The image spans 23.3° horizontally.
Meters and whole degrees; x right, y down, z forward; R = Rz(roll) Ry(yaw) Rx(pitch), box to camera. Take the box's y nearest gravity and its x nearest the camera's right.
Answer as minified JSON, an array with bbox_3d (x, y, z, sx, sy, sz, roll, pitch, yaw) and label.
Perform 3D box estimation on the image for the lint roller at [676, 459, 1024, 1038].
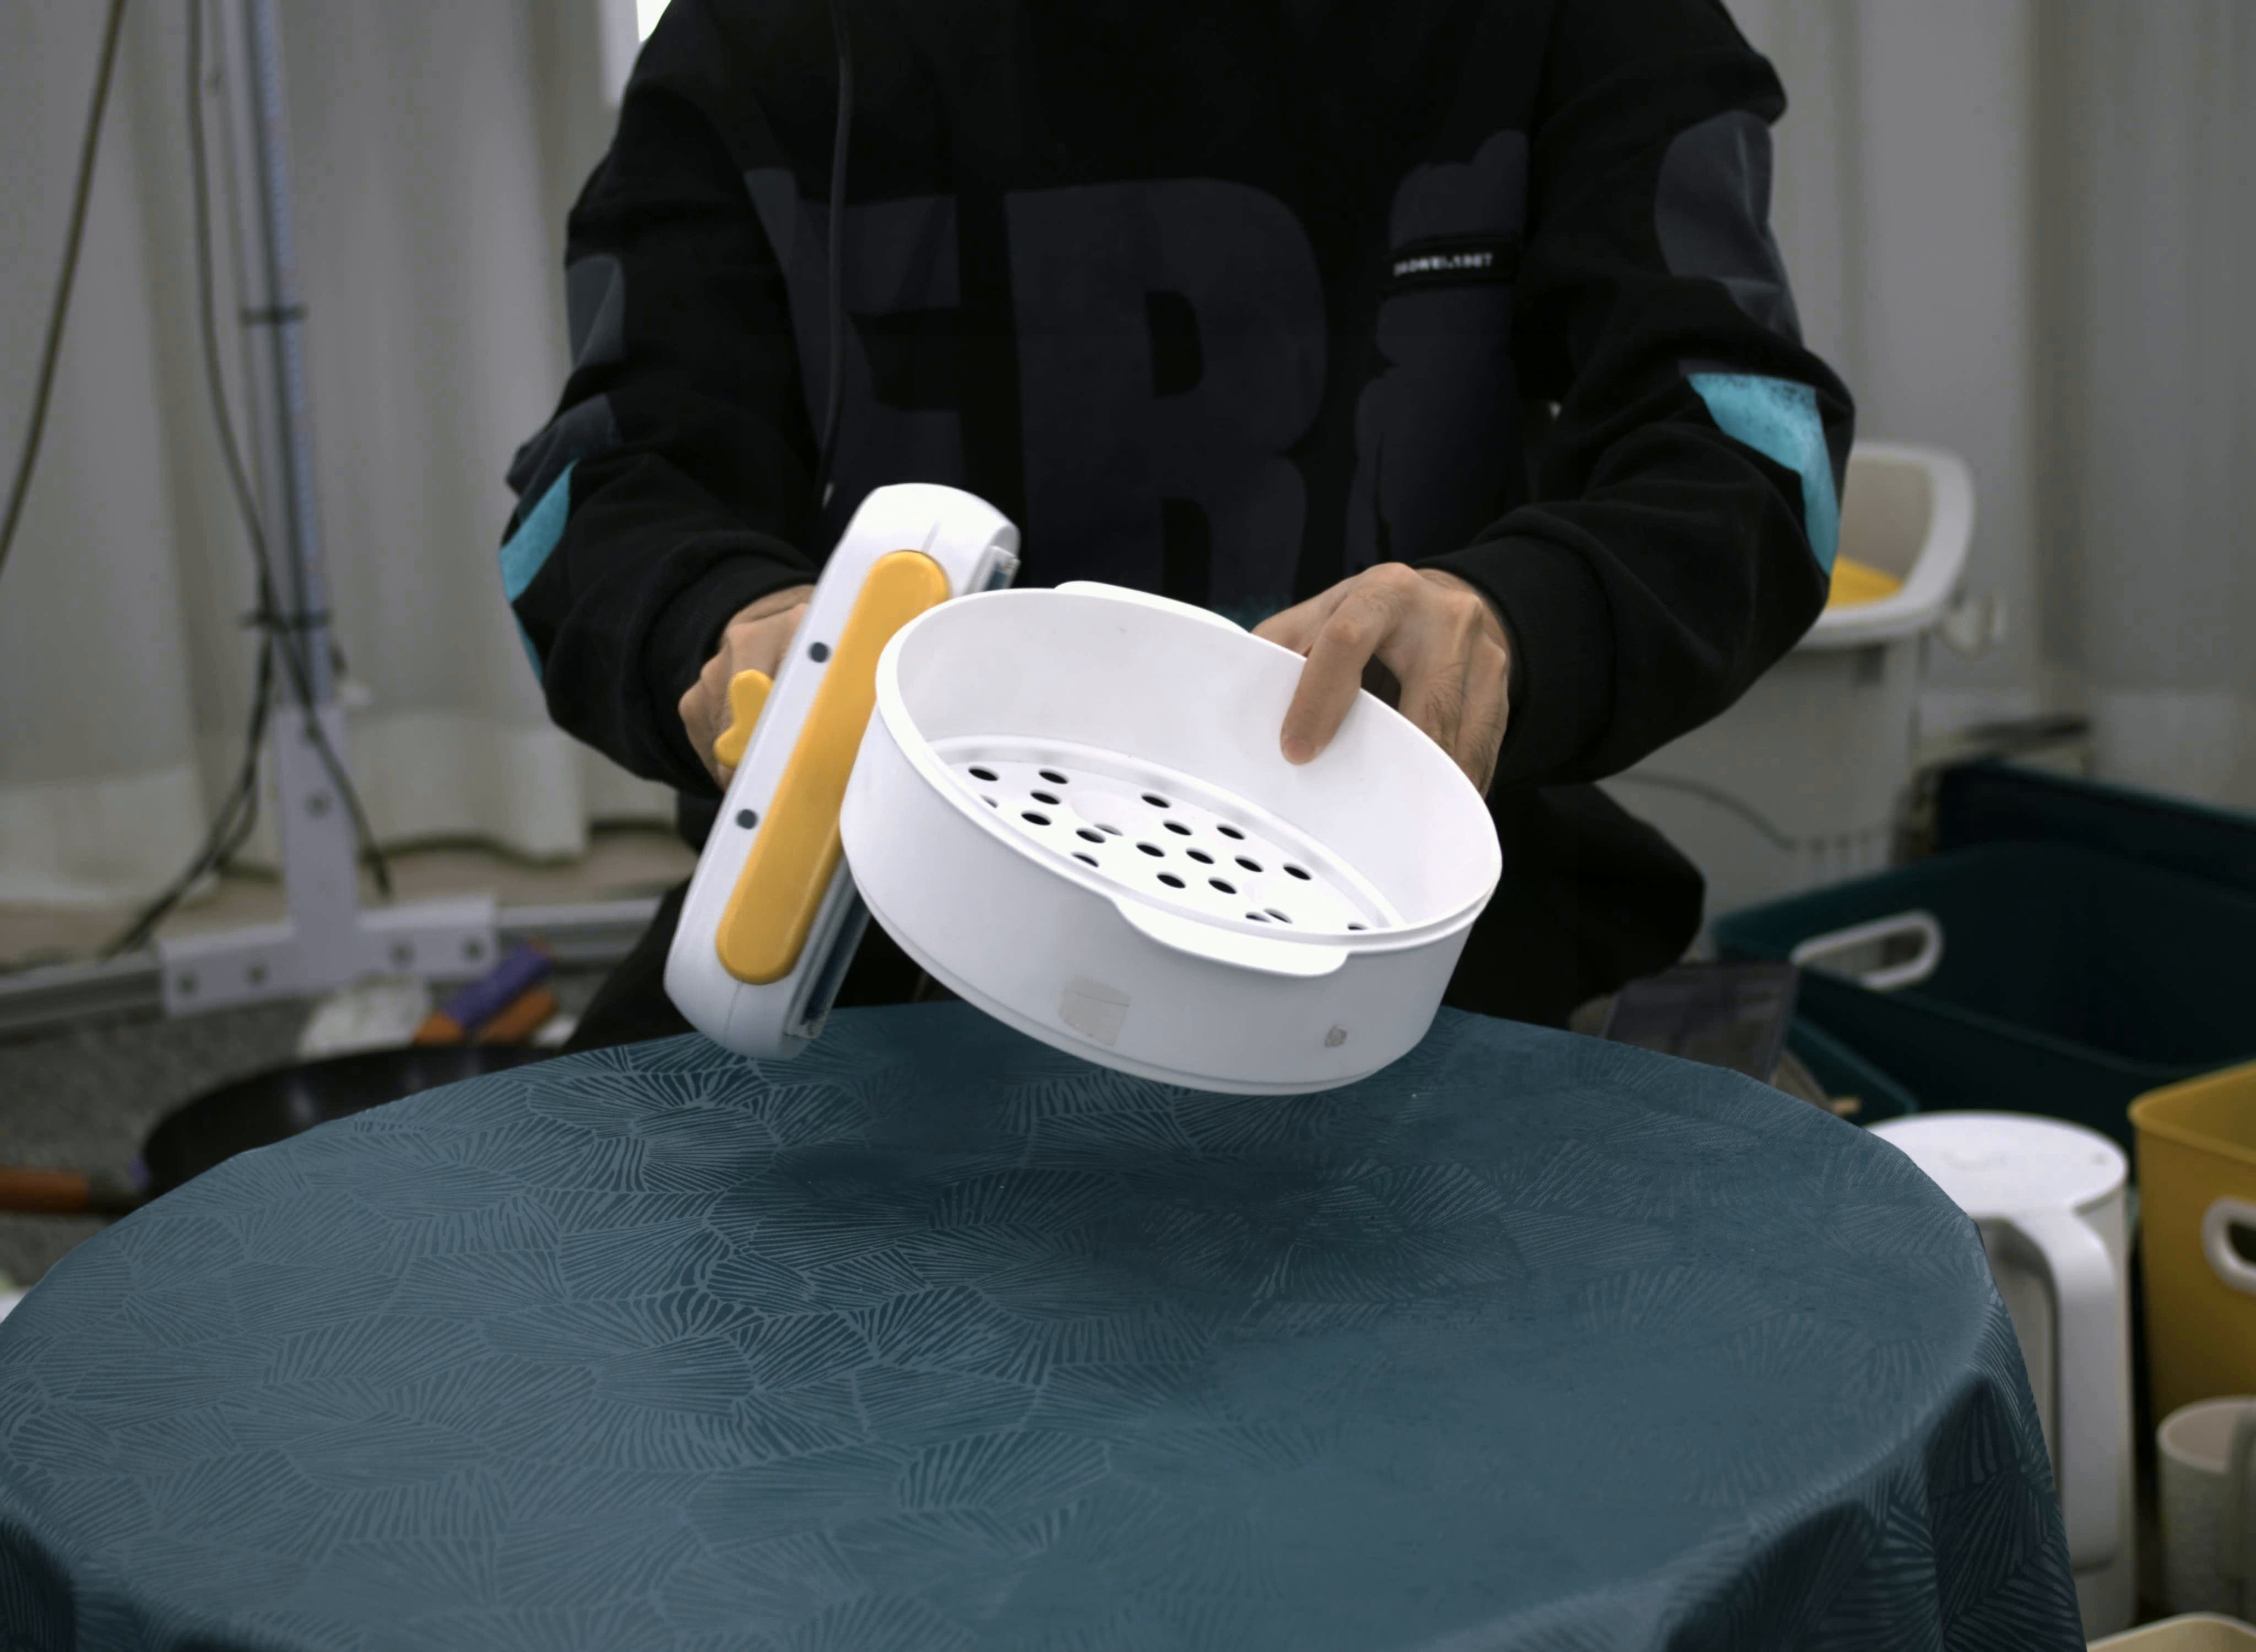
[{"bbox_3d":[-0.095,-0.024,1.807,0.074,0.193,0.192,19,-4,0],"label":"lint roller"}]

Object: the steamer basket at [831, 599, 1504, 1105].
[{"bbox_3d":[0.011,0.009,1.664,0.200,0.069,0.233,14,25,-14],"label":"steamer basket"}]
